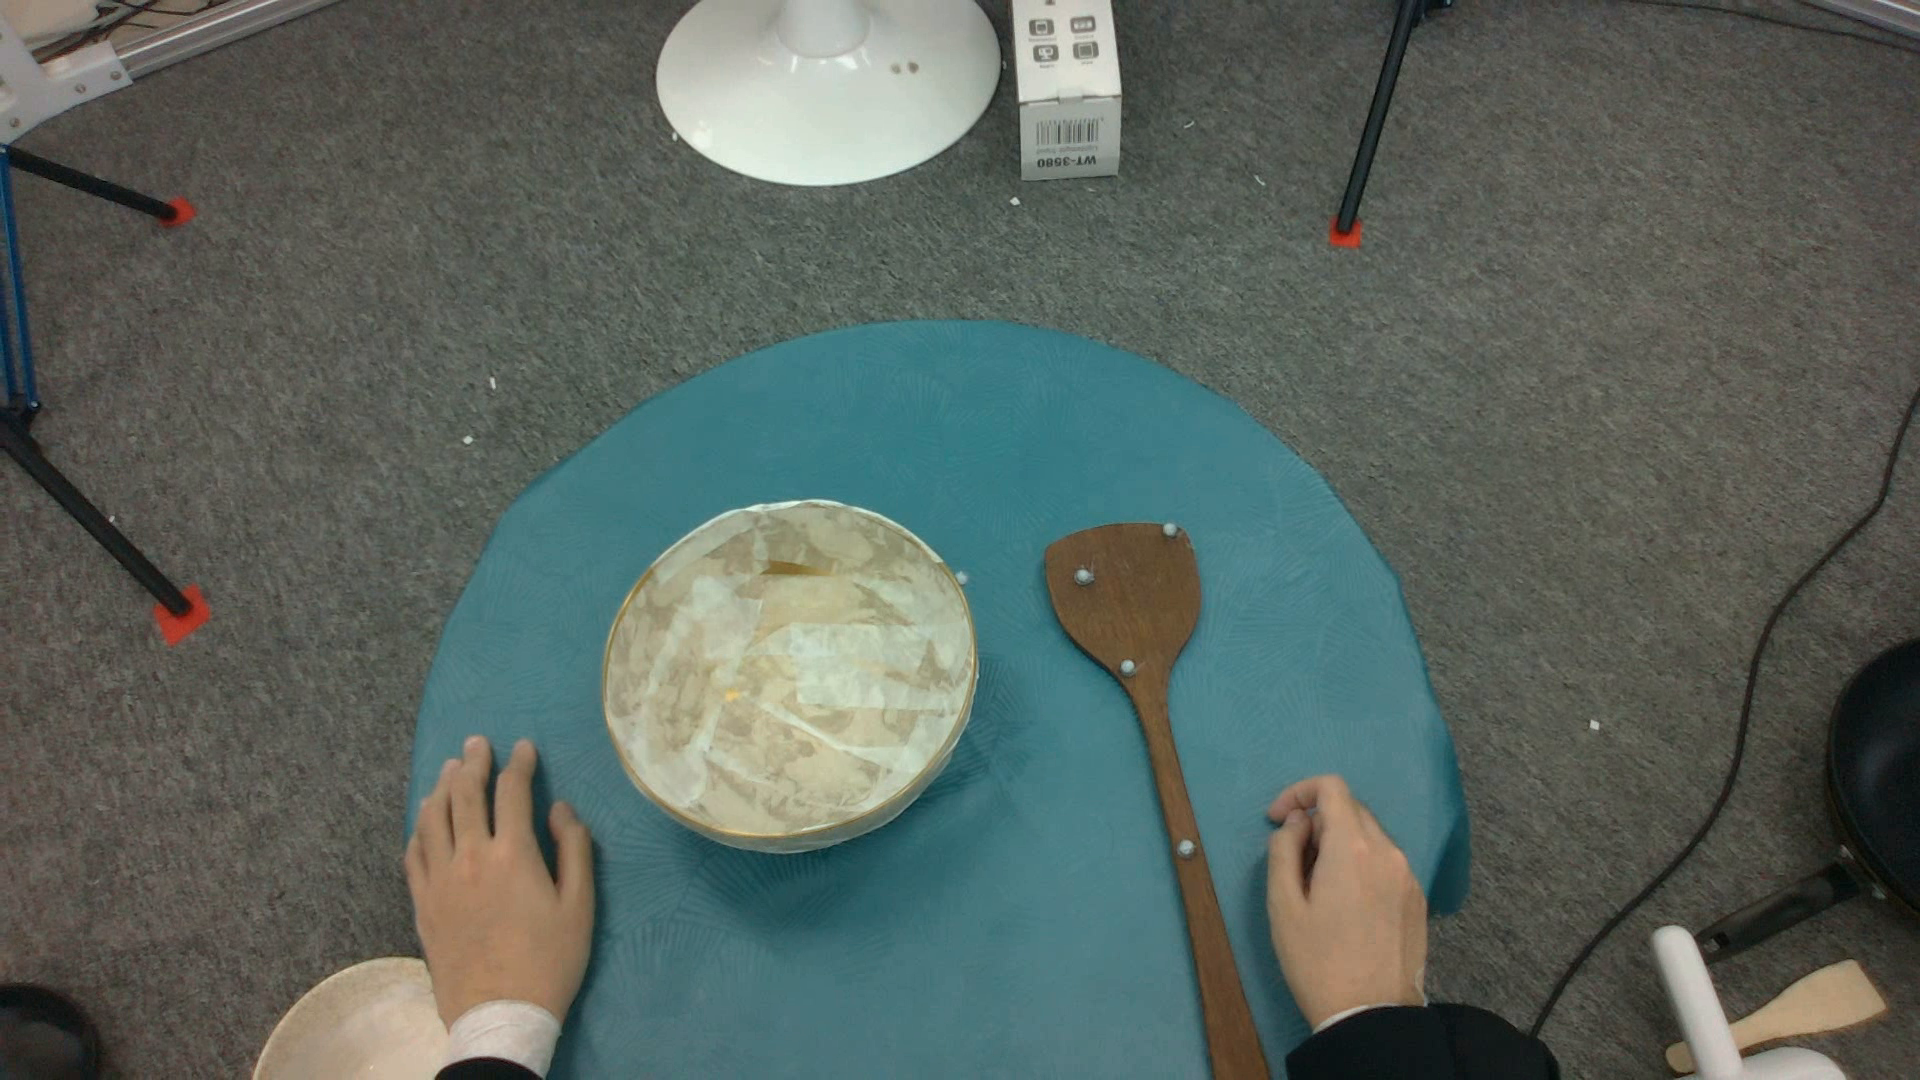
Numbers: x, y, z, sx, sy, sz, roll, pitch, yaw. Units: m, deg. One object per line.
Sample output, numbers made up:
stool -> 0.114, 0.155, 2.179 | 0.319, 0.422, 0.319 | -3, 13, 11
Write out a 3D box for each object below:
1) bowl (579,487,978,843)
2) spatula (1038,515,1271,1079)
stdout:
bowl -> -0.096, 0.081, 0.763 | 0.215, 0.094, 0.215 | 0, 58, 0
spatula -> 0.119, 0.149, 0.763 | 0.096, 0.016, 0.387 | -8, 58, -3
